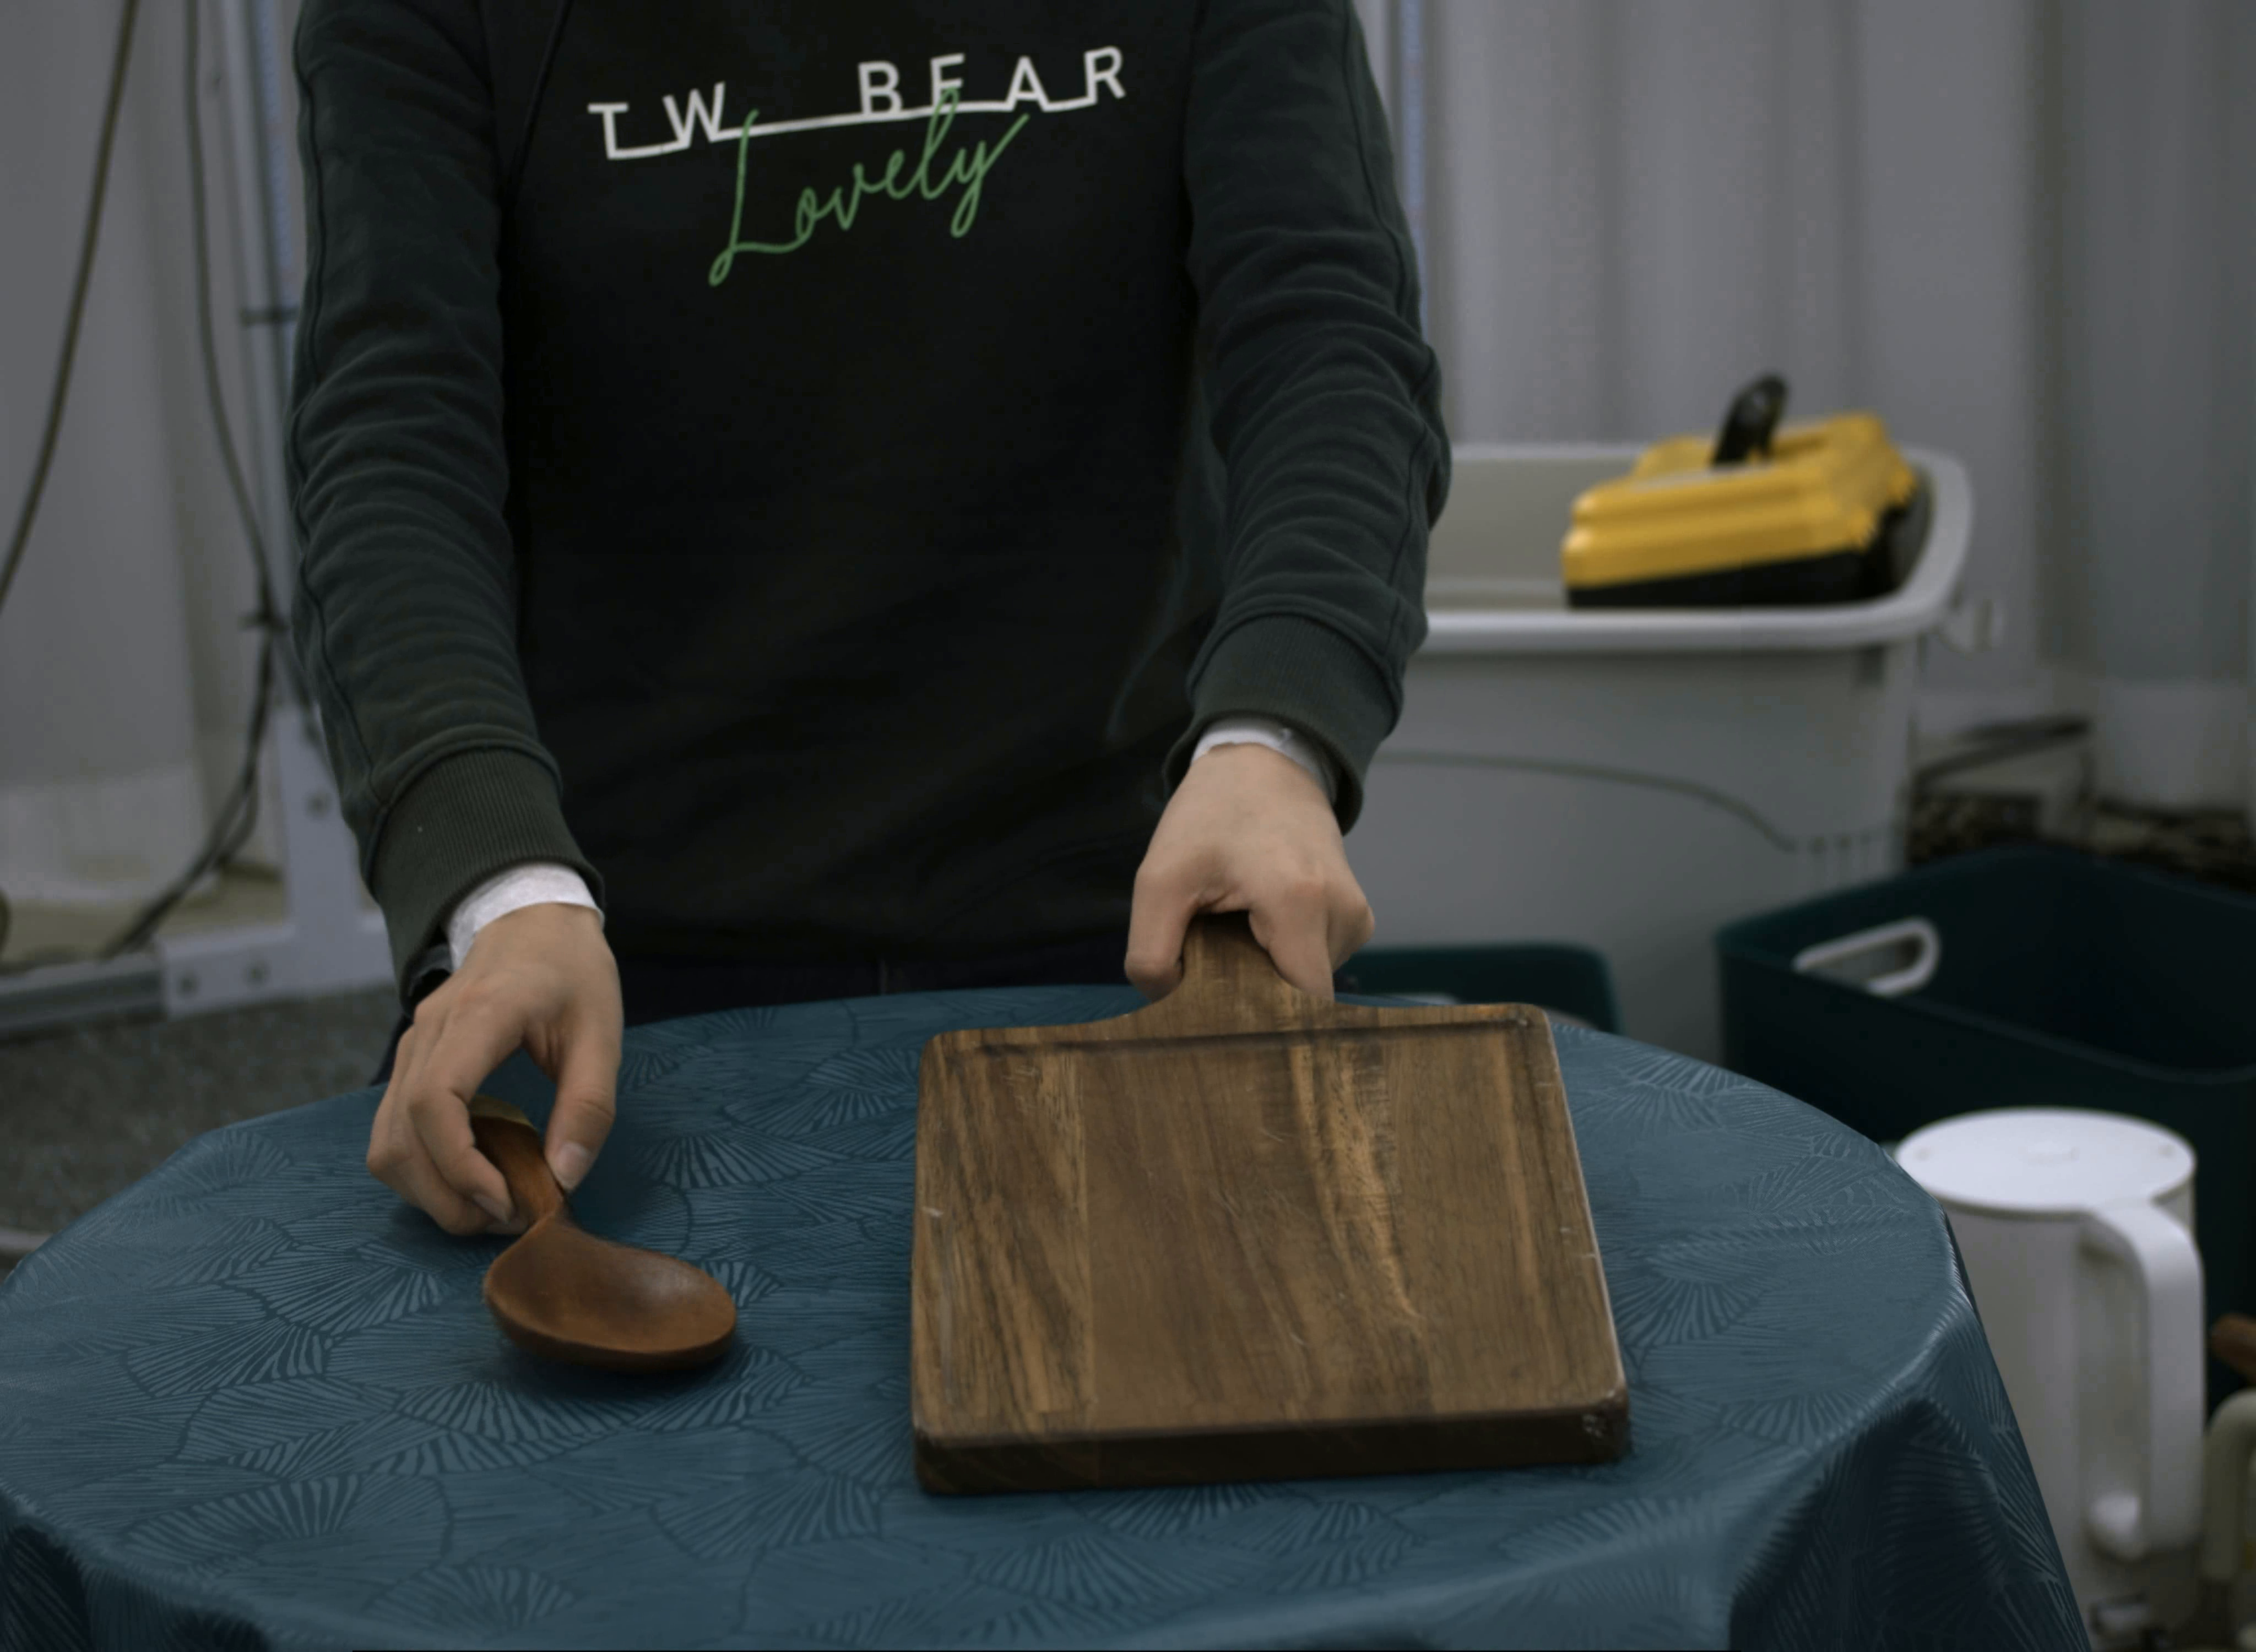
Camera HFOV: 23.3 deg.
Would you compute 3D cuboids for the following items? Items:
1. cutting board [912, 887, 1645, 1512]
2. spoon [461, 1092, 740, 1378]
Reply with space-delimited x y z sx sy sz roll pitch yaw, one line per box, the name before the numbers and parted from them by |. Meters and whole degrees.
cutting board | 0.036 0.100 1.629 0.200 0.023 0.356 -4 24 0
spoon | -0.170 0.125 1.652 0.075 0.017 0.218 -3 19 -17
